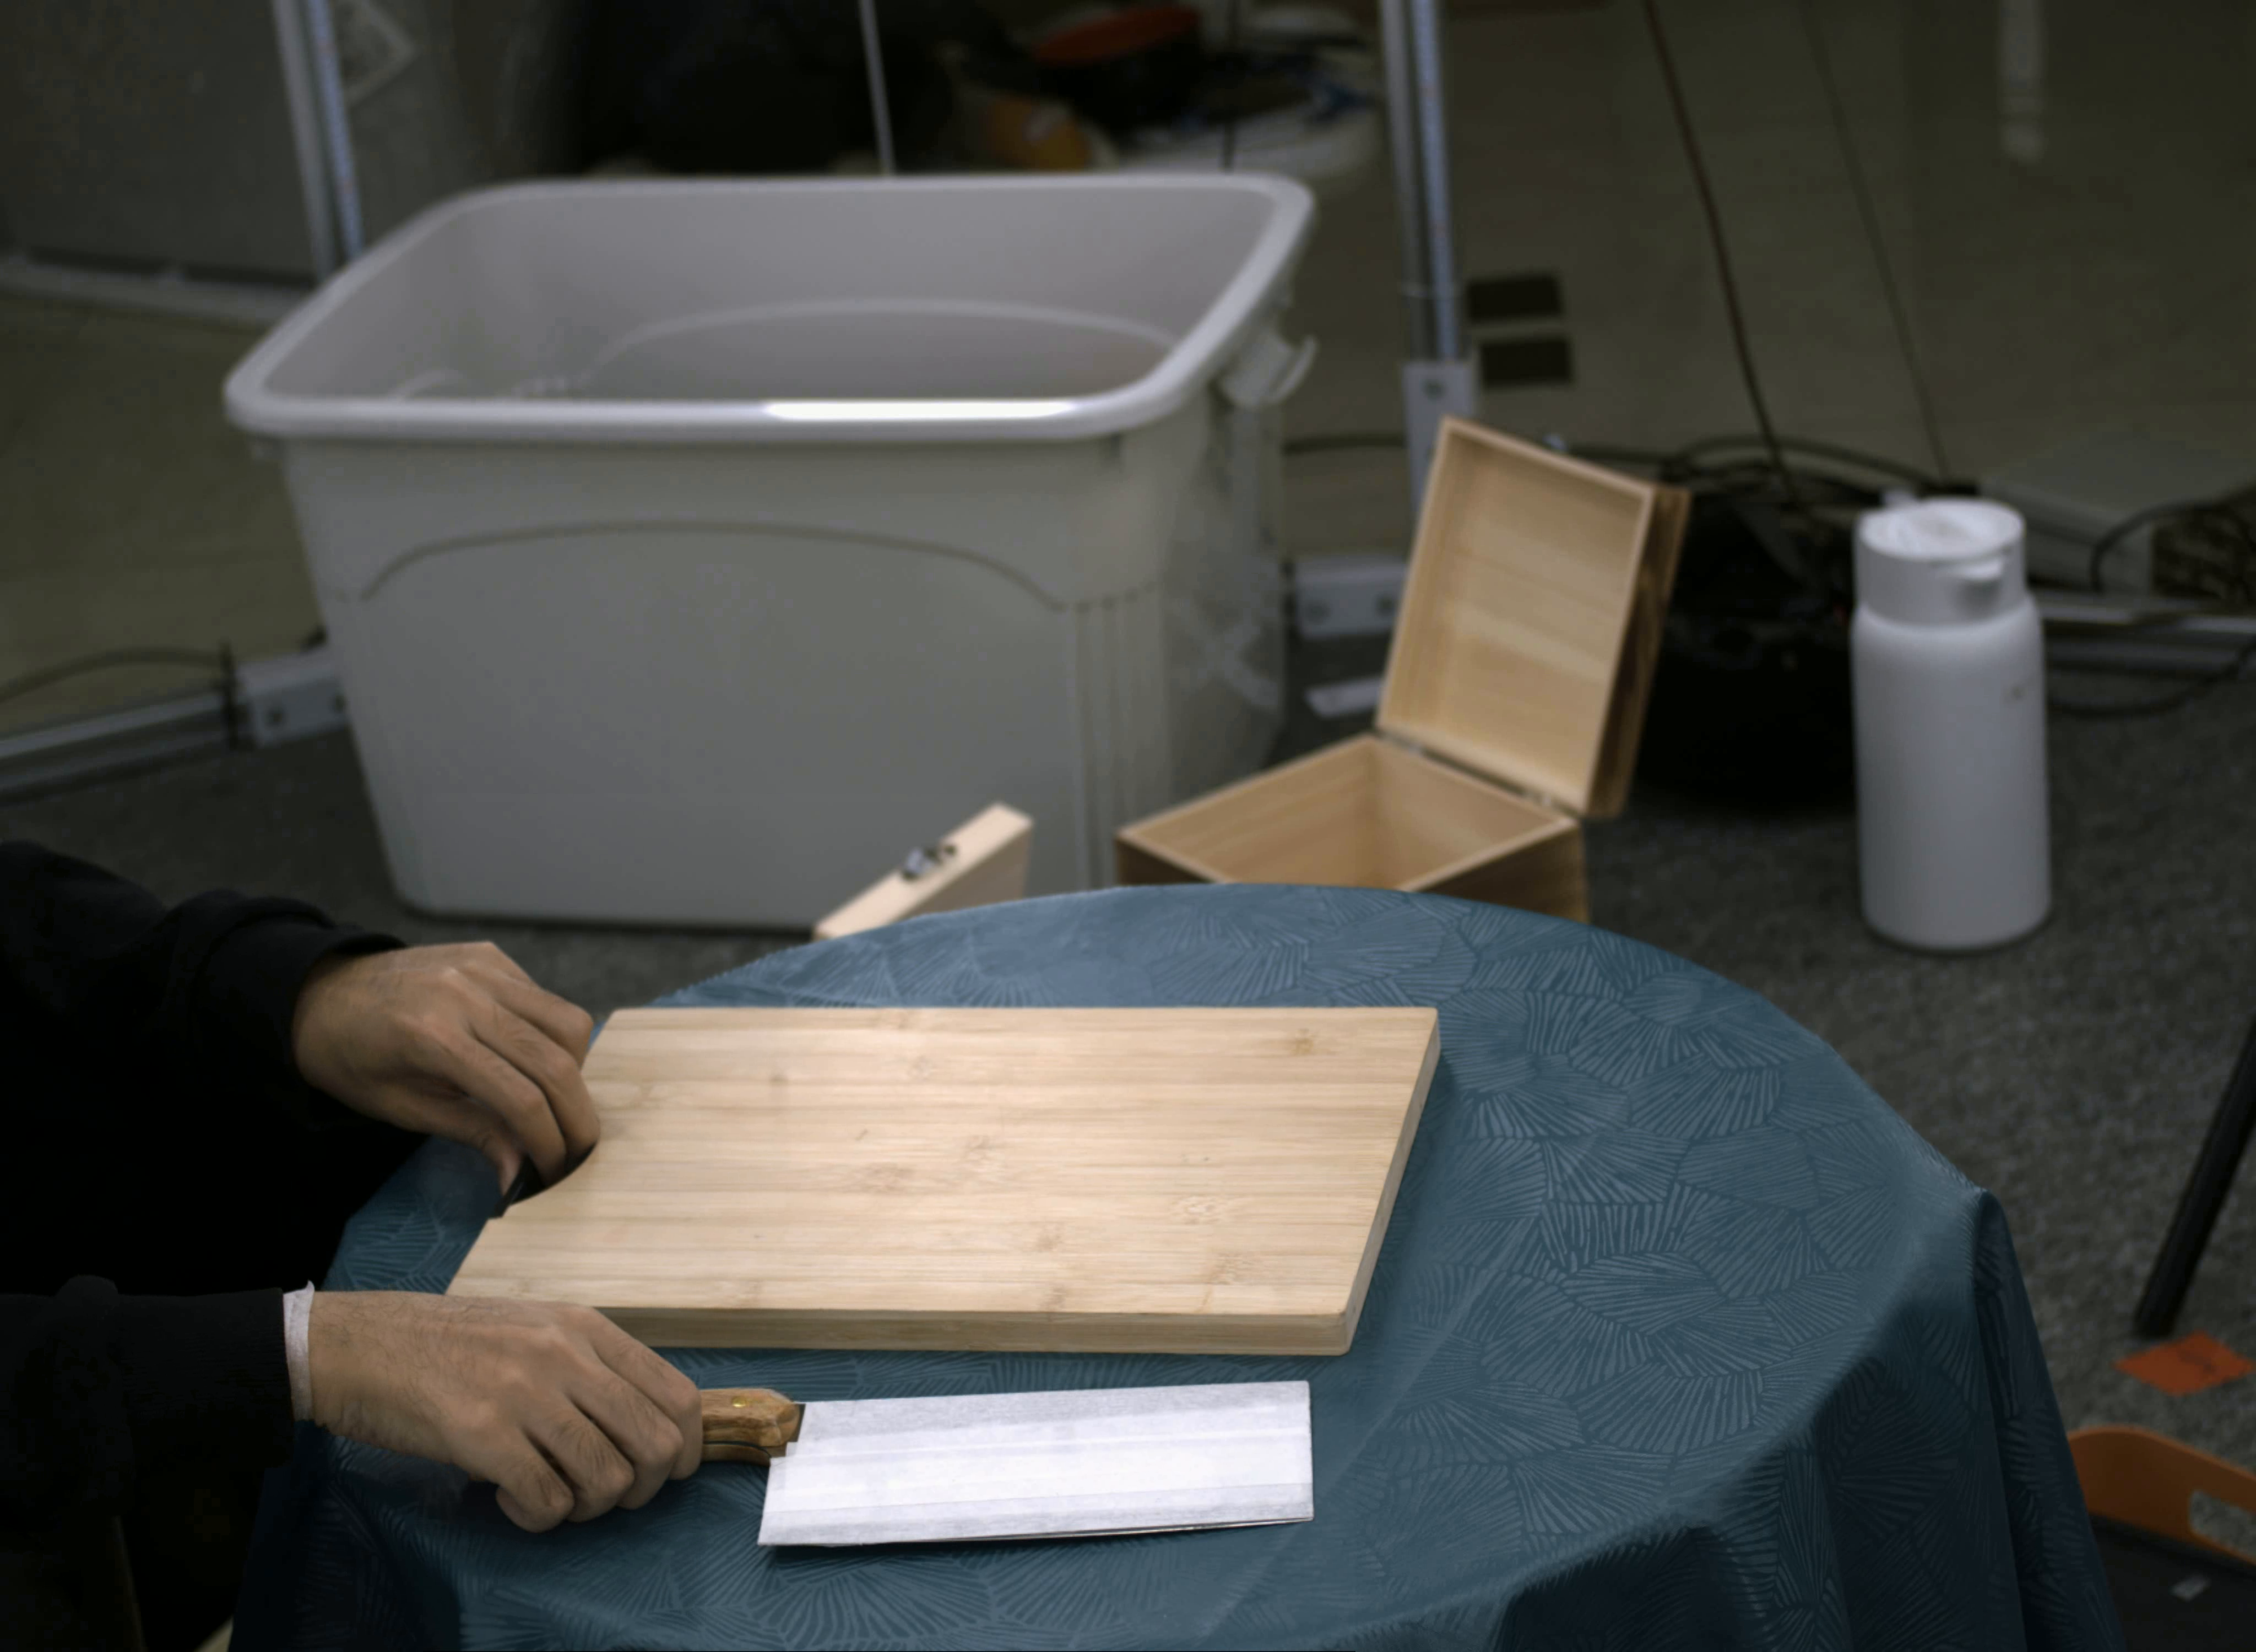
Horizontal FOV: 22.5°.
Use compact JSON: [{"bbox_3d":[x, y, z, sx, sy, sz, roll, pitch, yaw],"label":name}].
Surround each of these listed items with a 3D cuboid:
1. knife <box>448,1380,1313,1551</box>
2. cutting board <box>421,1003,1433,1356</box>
[{"bbox_3d":[-0.088,0.222,1.972,0.305,0.021,0.091,-3,27,2],"label":"knife"},{"bbox_3d":[-0.070,0.131,2.160,0.348,0.024,0.247,-1,25,12],"label":"cutting board"}]
